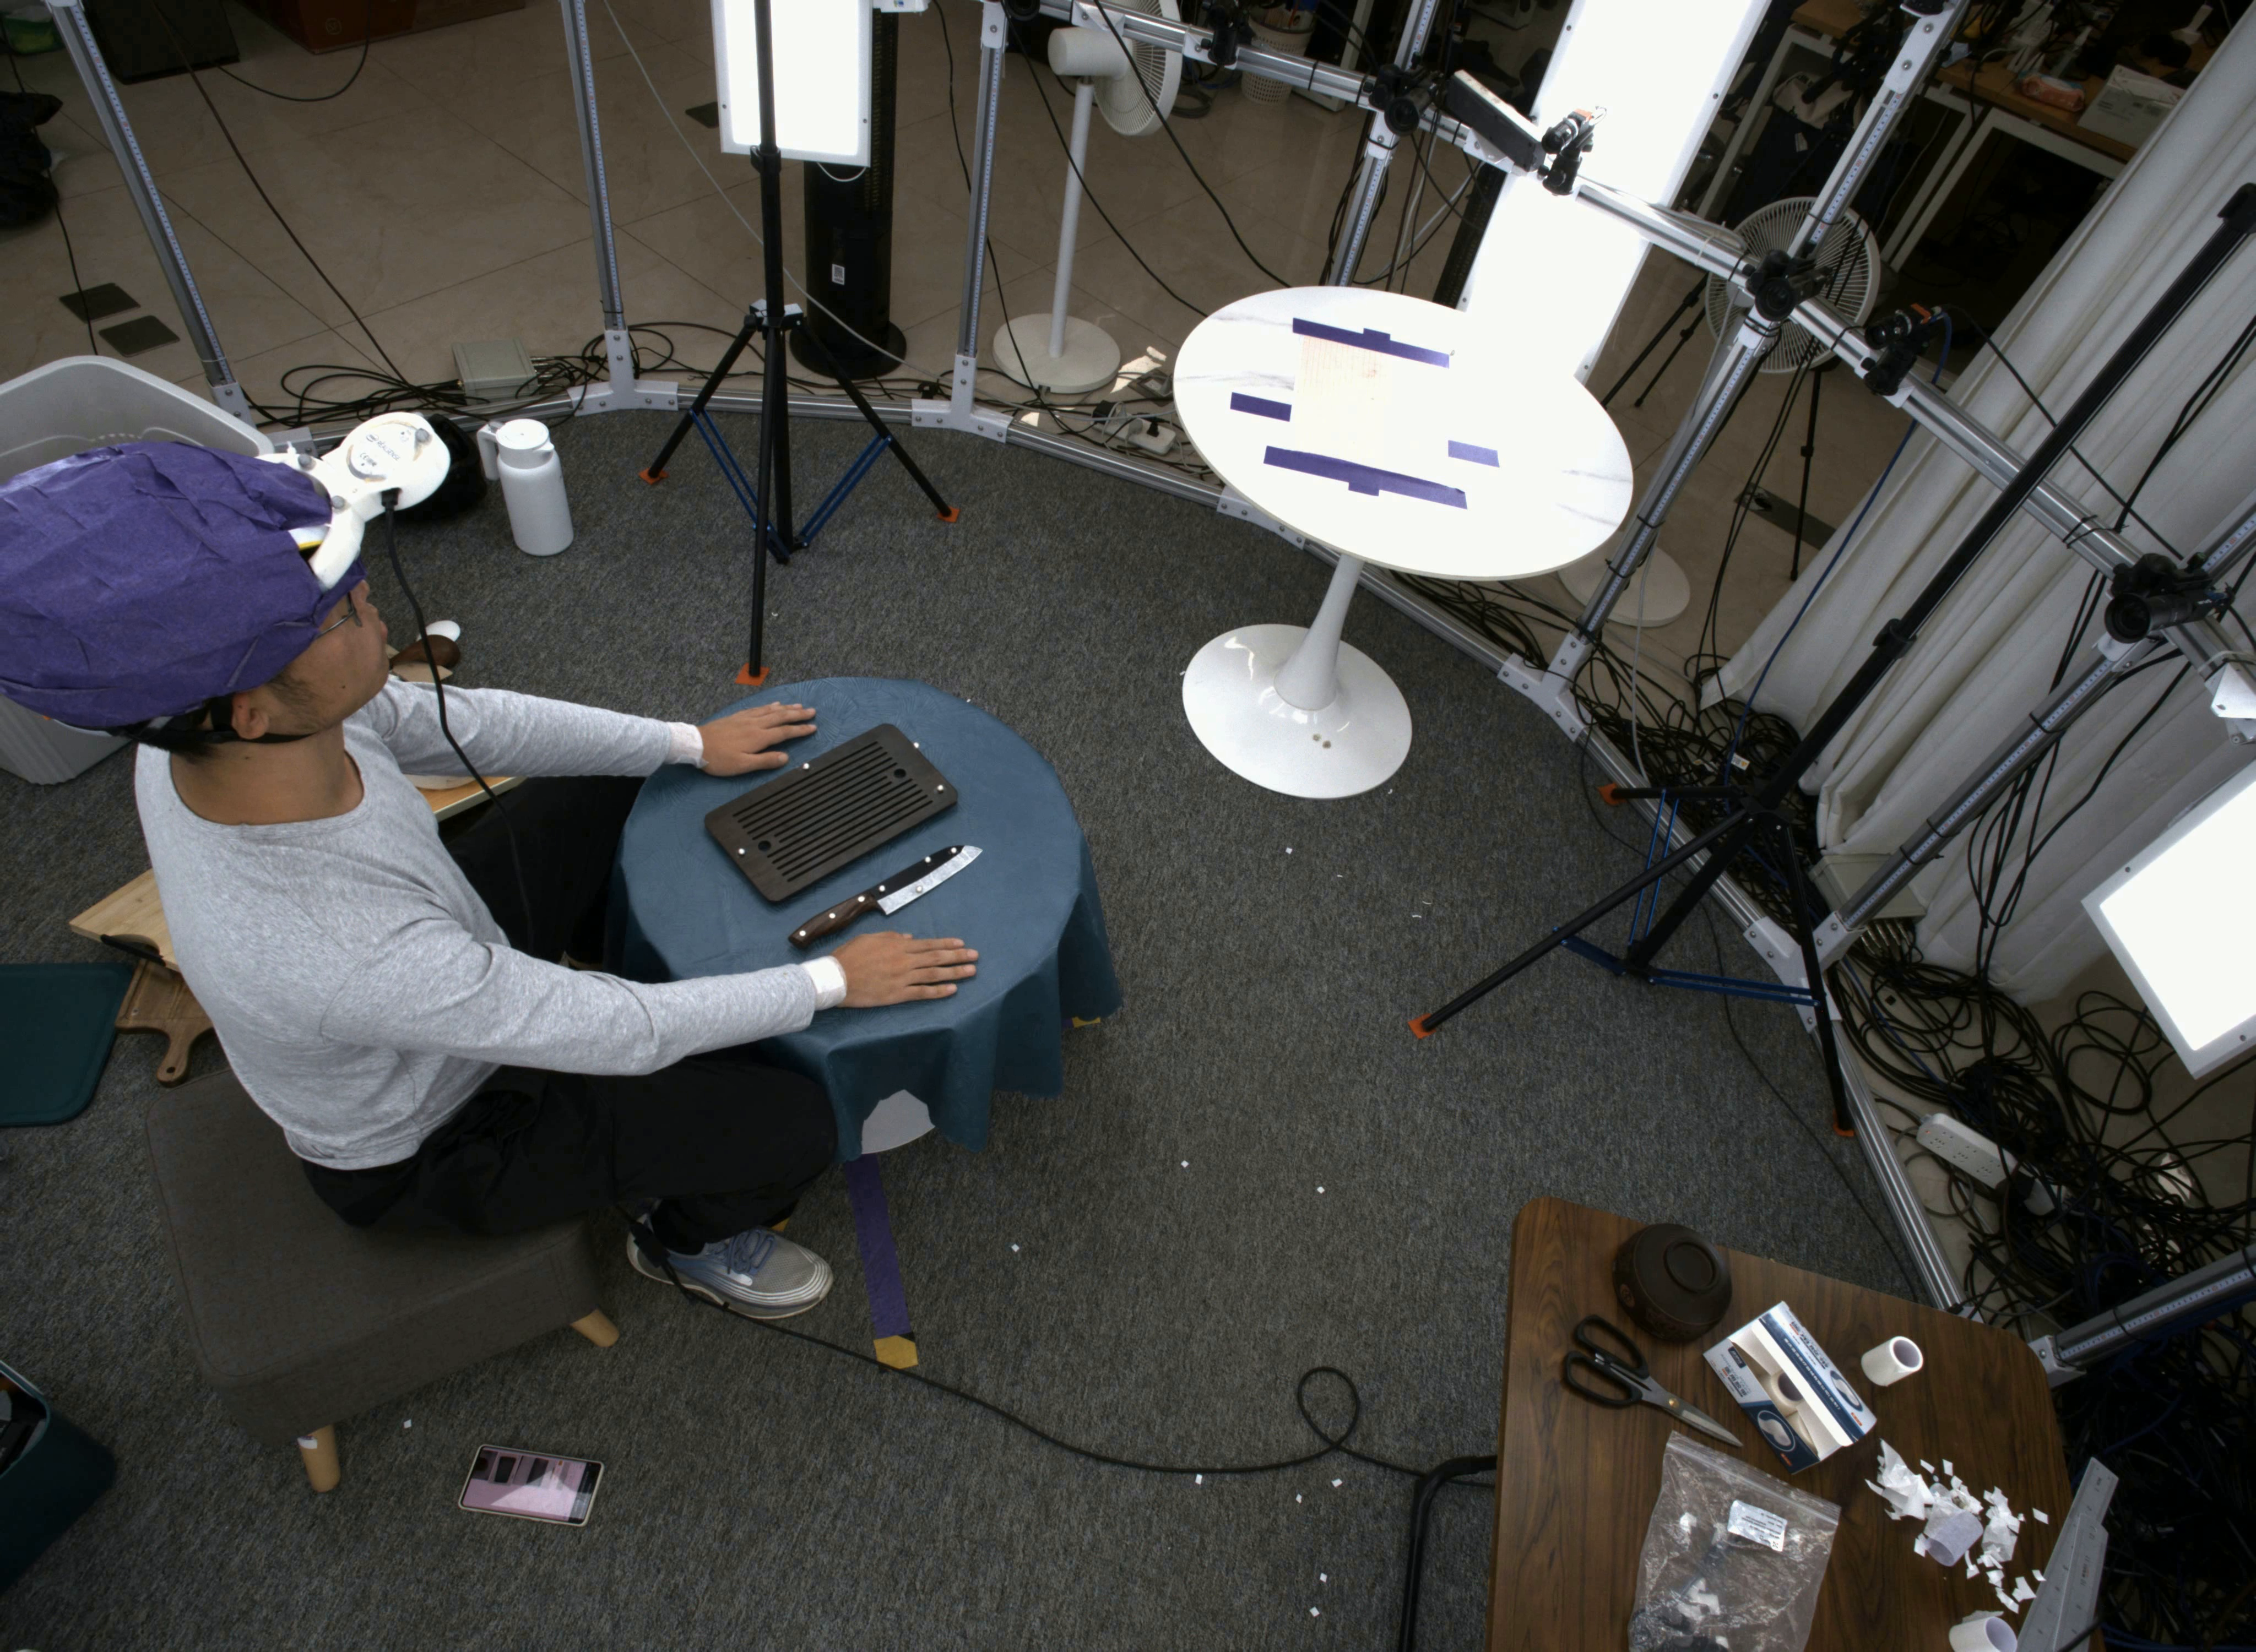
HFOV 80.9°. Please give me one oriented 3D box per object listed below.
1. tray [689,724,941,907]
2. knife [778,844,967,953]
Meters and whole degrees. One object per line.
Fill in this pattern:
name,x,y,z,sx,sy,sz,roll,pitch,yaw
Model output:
tray,-0.416,-0.019,1.741,0.307,0.019,0.166,-33,68,-31
knife,-0.325,0.088,1.686,0.290,0.020,0.049,-30,70,-33
